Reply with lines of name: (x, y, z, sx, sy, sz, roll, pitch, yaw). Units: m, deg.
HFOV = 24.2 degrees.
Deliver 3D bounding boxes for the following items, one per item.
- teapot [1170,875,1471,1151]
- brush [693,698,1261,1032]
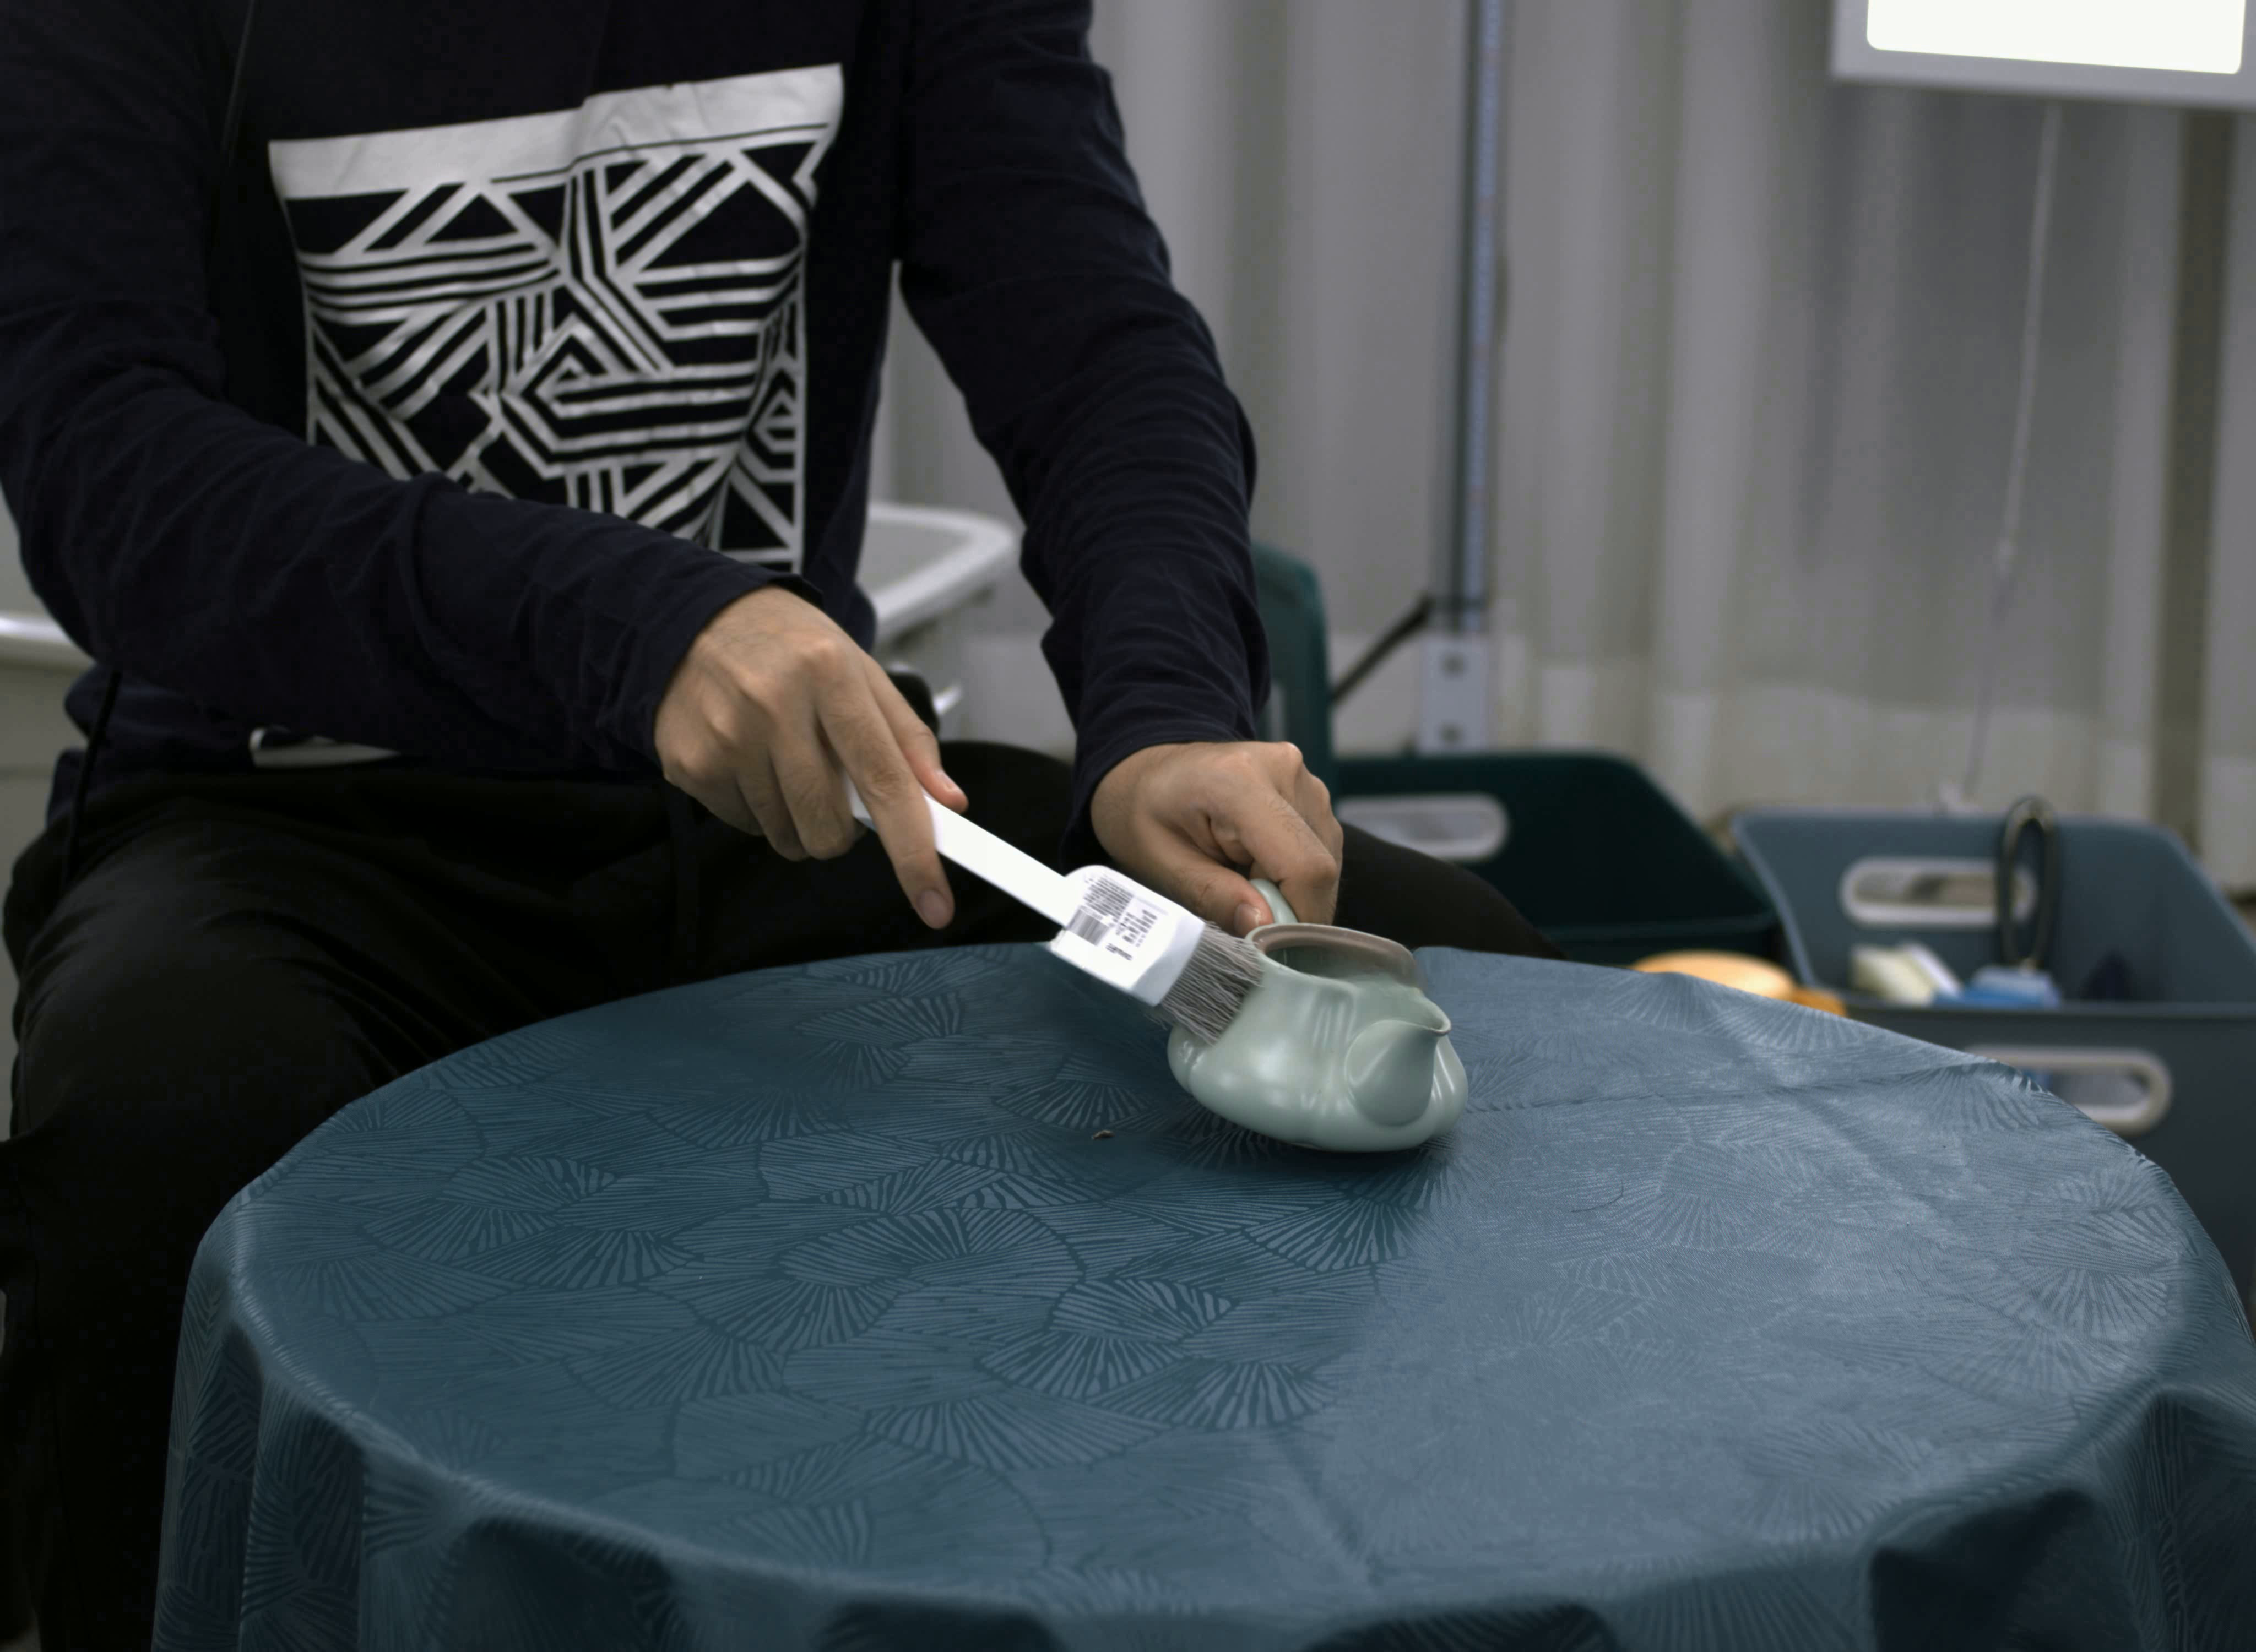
teapot: (0.061, 0.063, 1.673, 0.097, 0.062, 0.135, -2, 22, -30)
brush: (-0.050, 0.010, 1.710, 0.240, 0.034, 0.051, 25, -5, 40)
